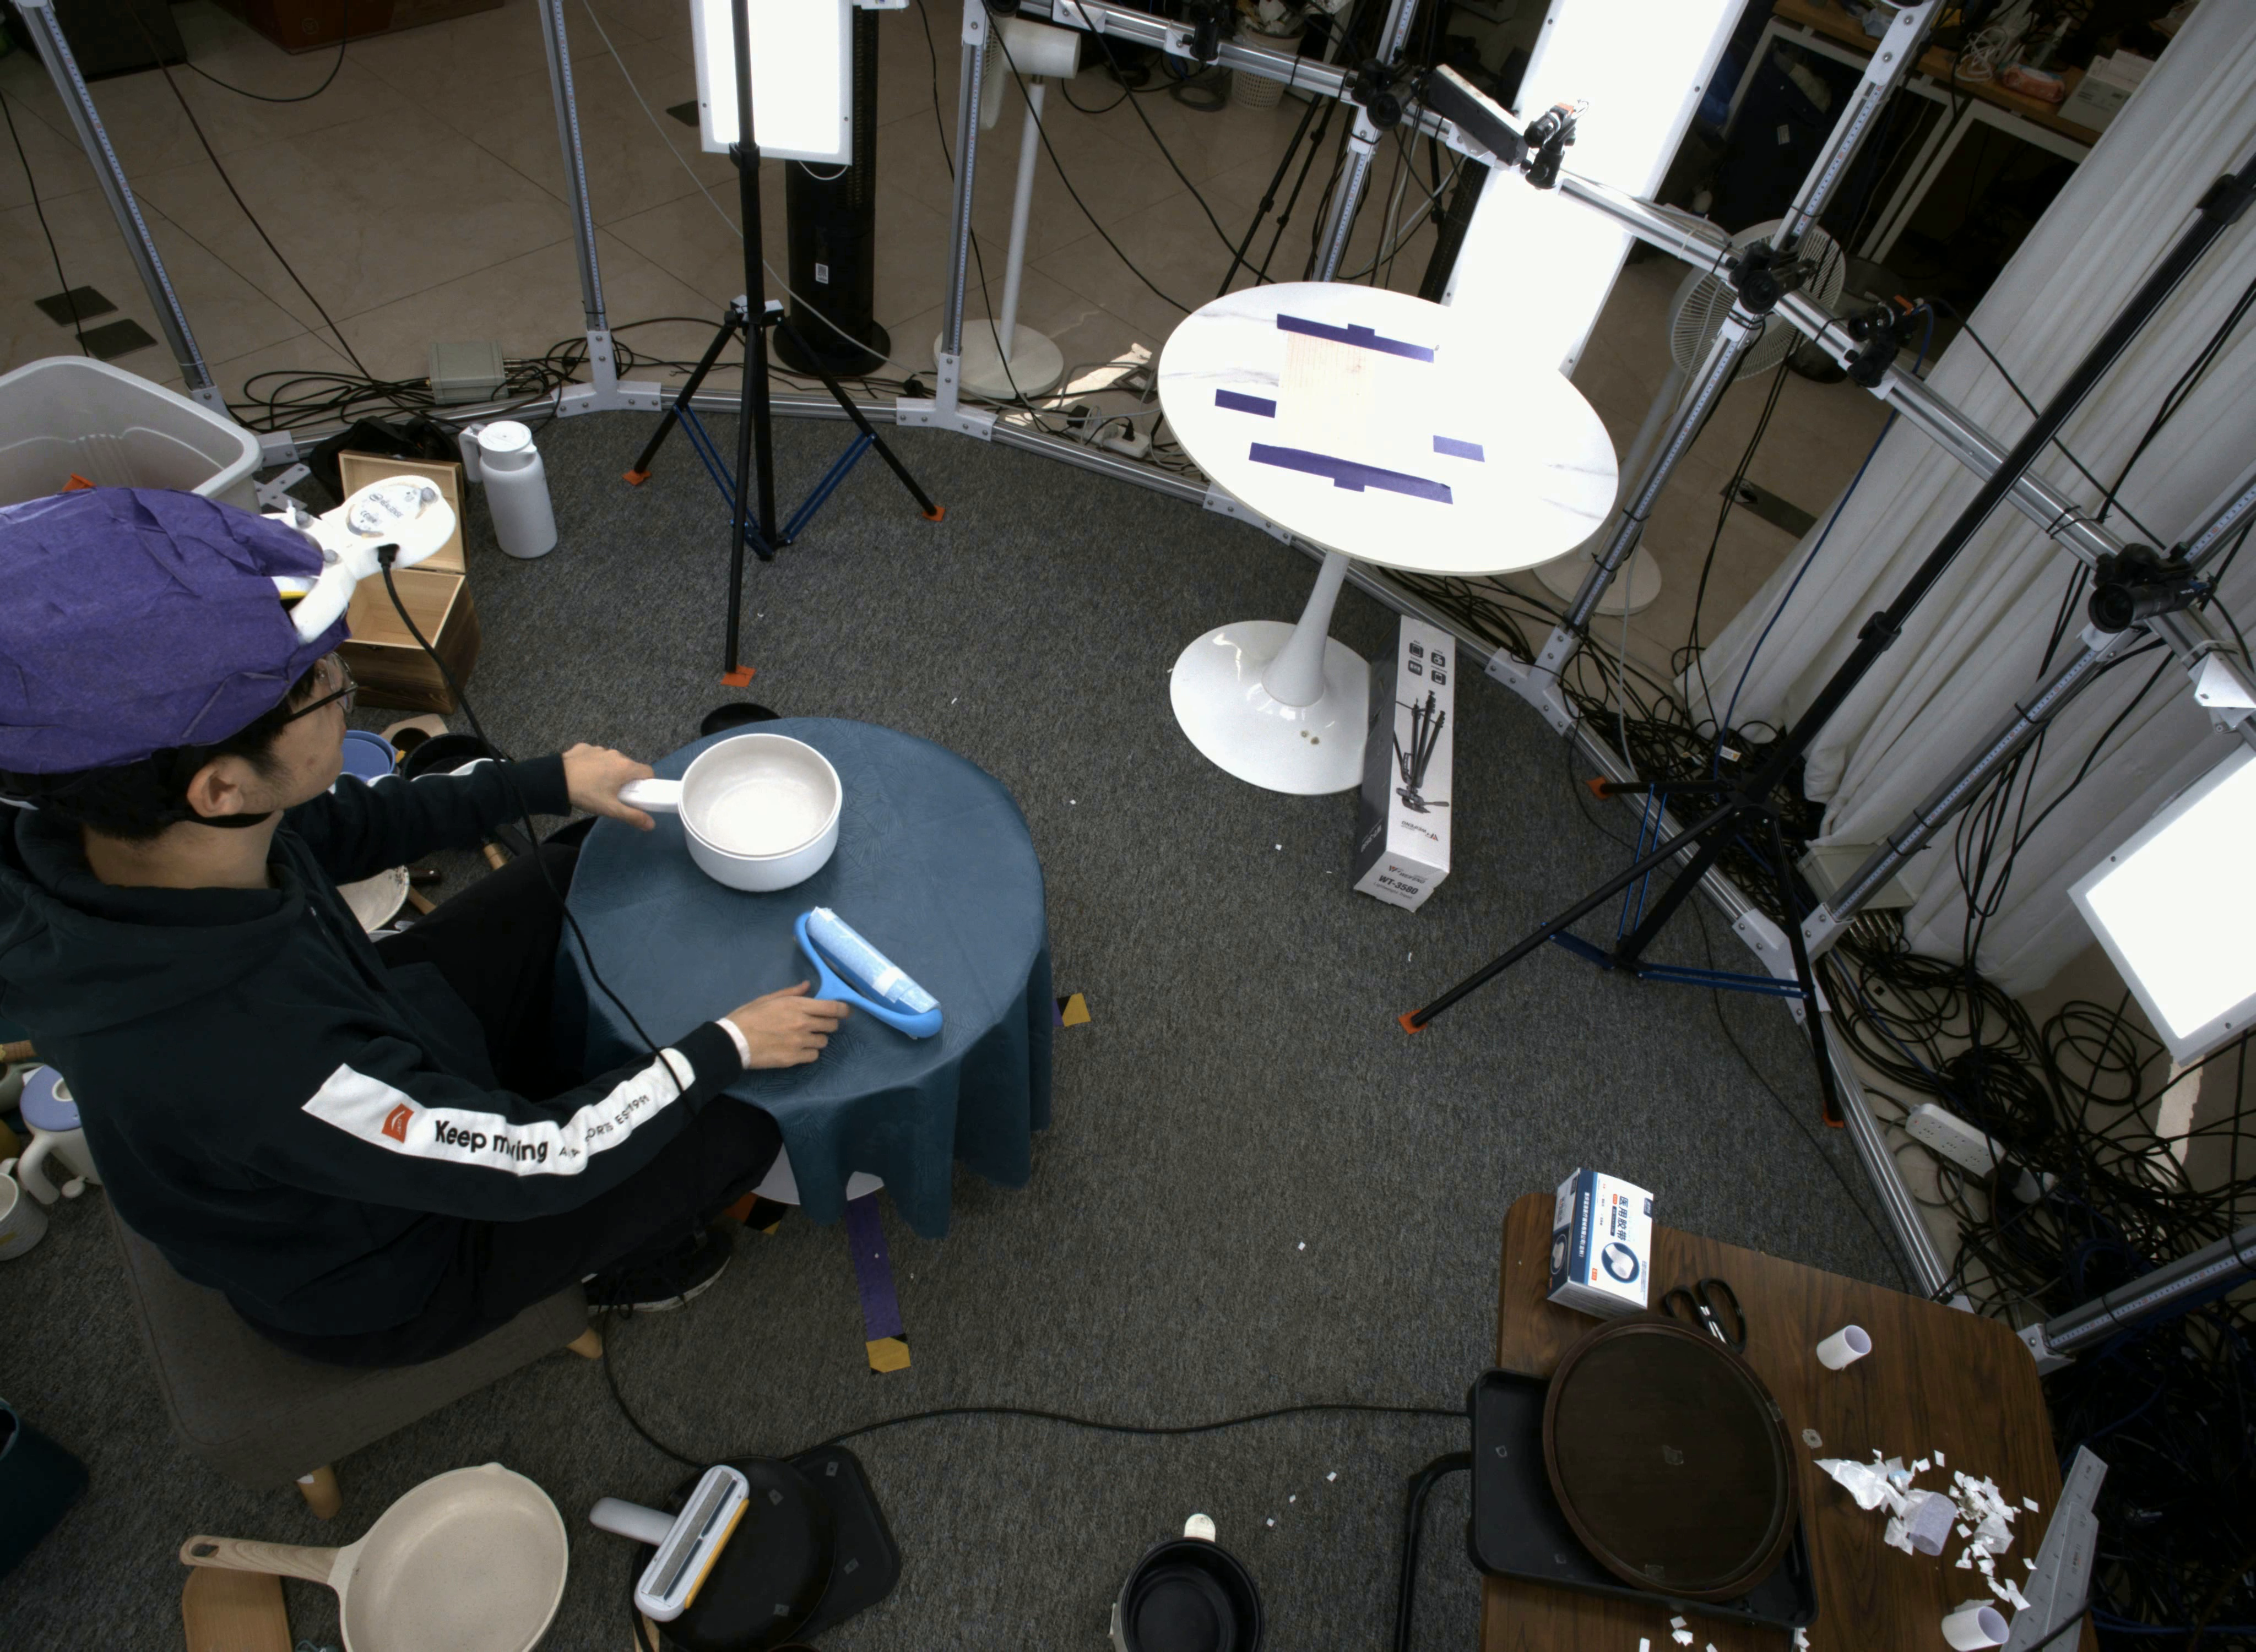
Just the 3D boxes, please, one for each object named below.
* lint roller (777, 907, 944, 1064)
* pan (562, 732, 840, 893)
[{"bbox_3d":[-0.350,0.208,1.559,0.225,0.069,0.180,36,53,11],"label":"lint roller"},{"bbox_3d":[-0.546,-0.018,1.647,0.354,0.104,0.197,4,53,-11],"label":"pan"}]
